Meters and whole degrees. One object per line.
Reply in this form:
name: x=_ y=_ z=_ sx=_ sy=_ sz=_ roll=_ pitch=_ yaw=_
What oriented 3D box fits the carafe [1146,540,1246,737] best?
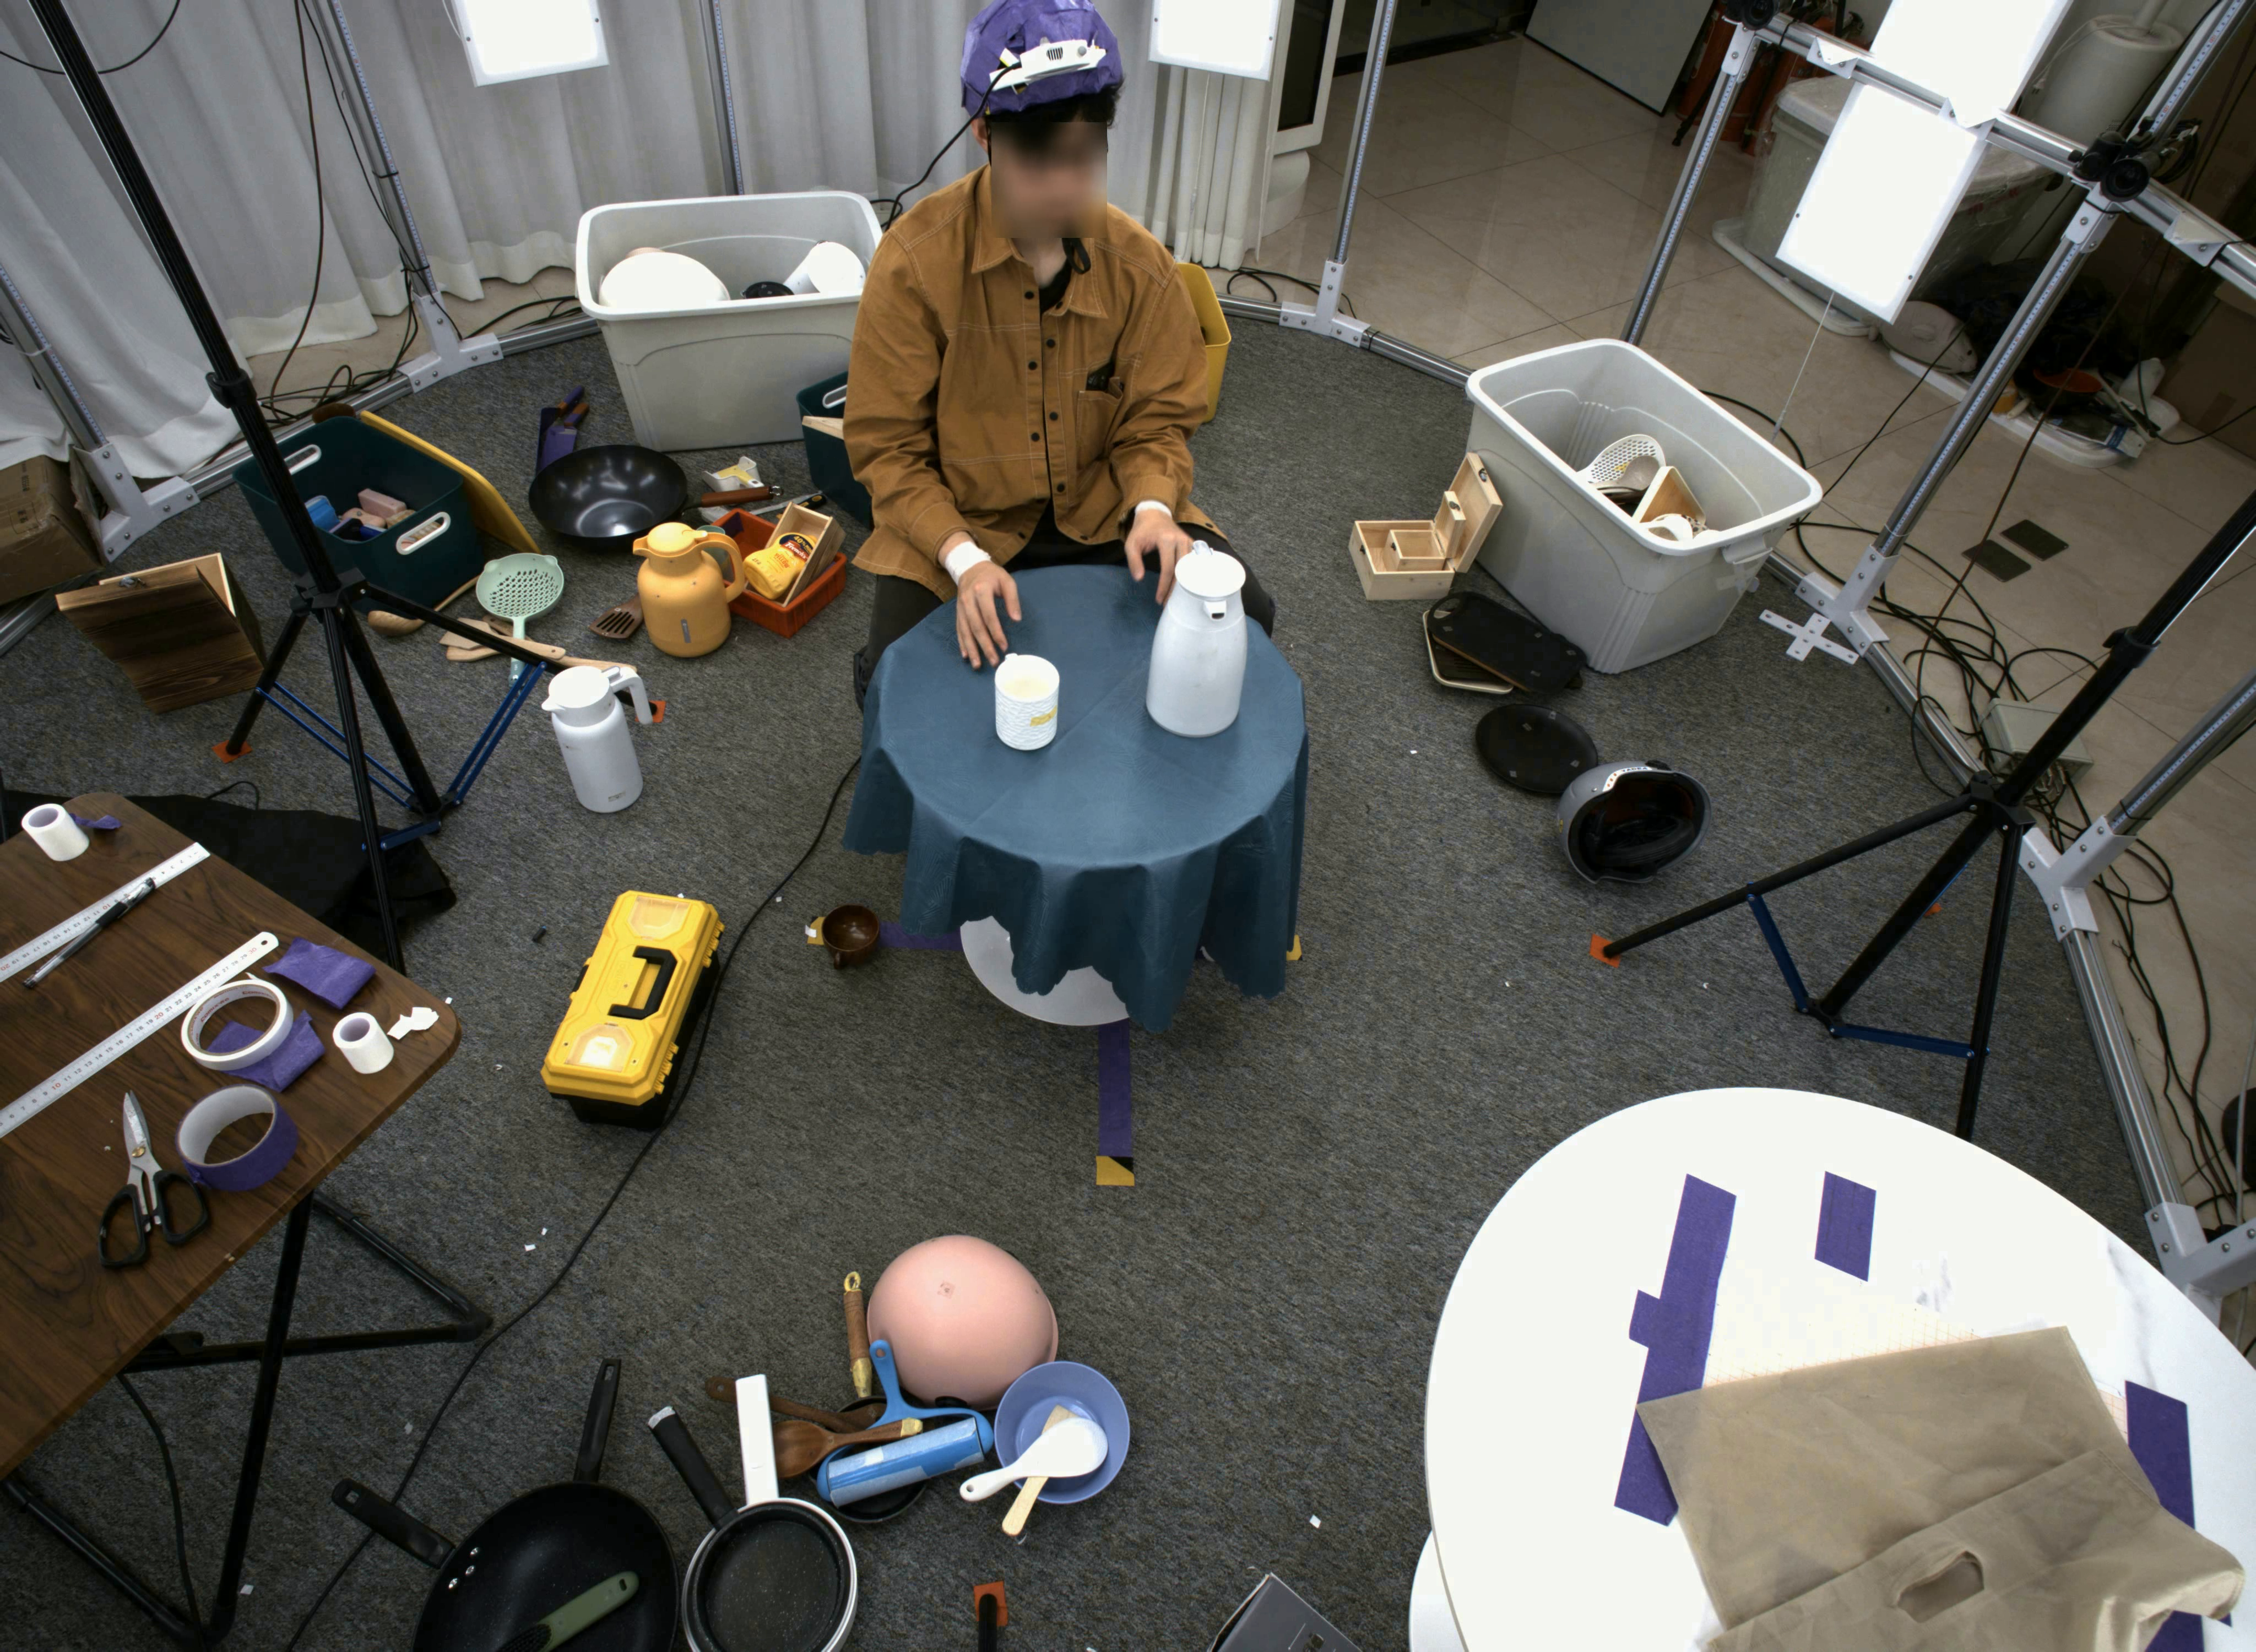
carafe: x=0.093 y=-0.266 z=1.746 sx=0.132 sy=0.242 sz=0.172 roll=-6 pitch=50 yaw=-8

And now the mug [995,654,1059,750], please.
mug: x=-0.143 y=-0.176 z=1.748 sx=0.085 sy=0.099 sz=0.121 roll=-15 pitch=51 yaw=-17
